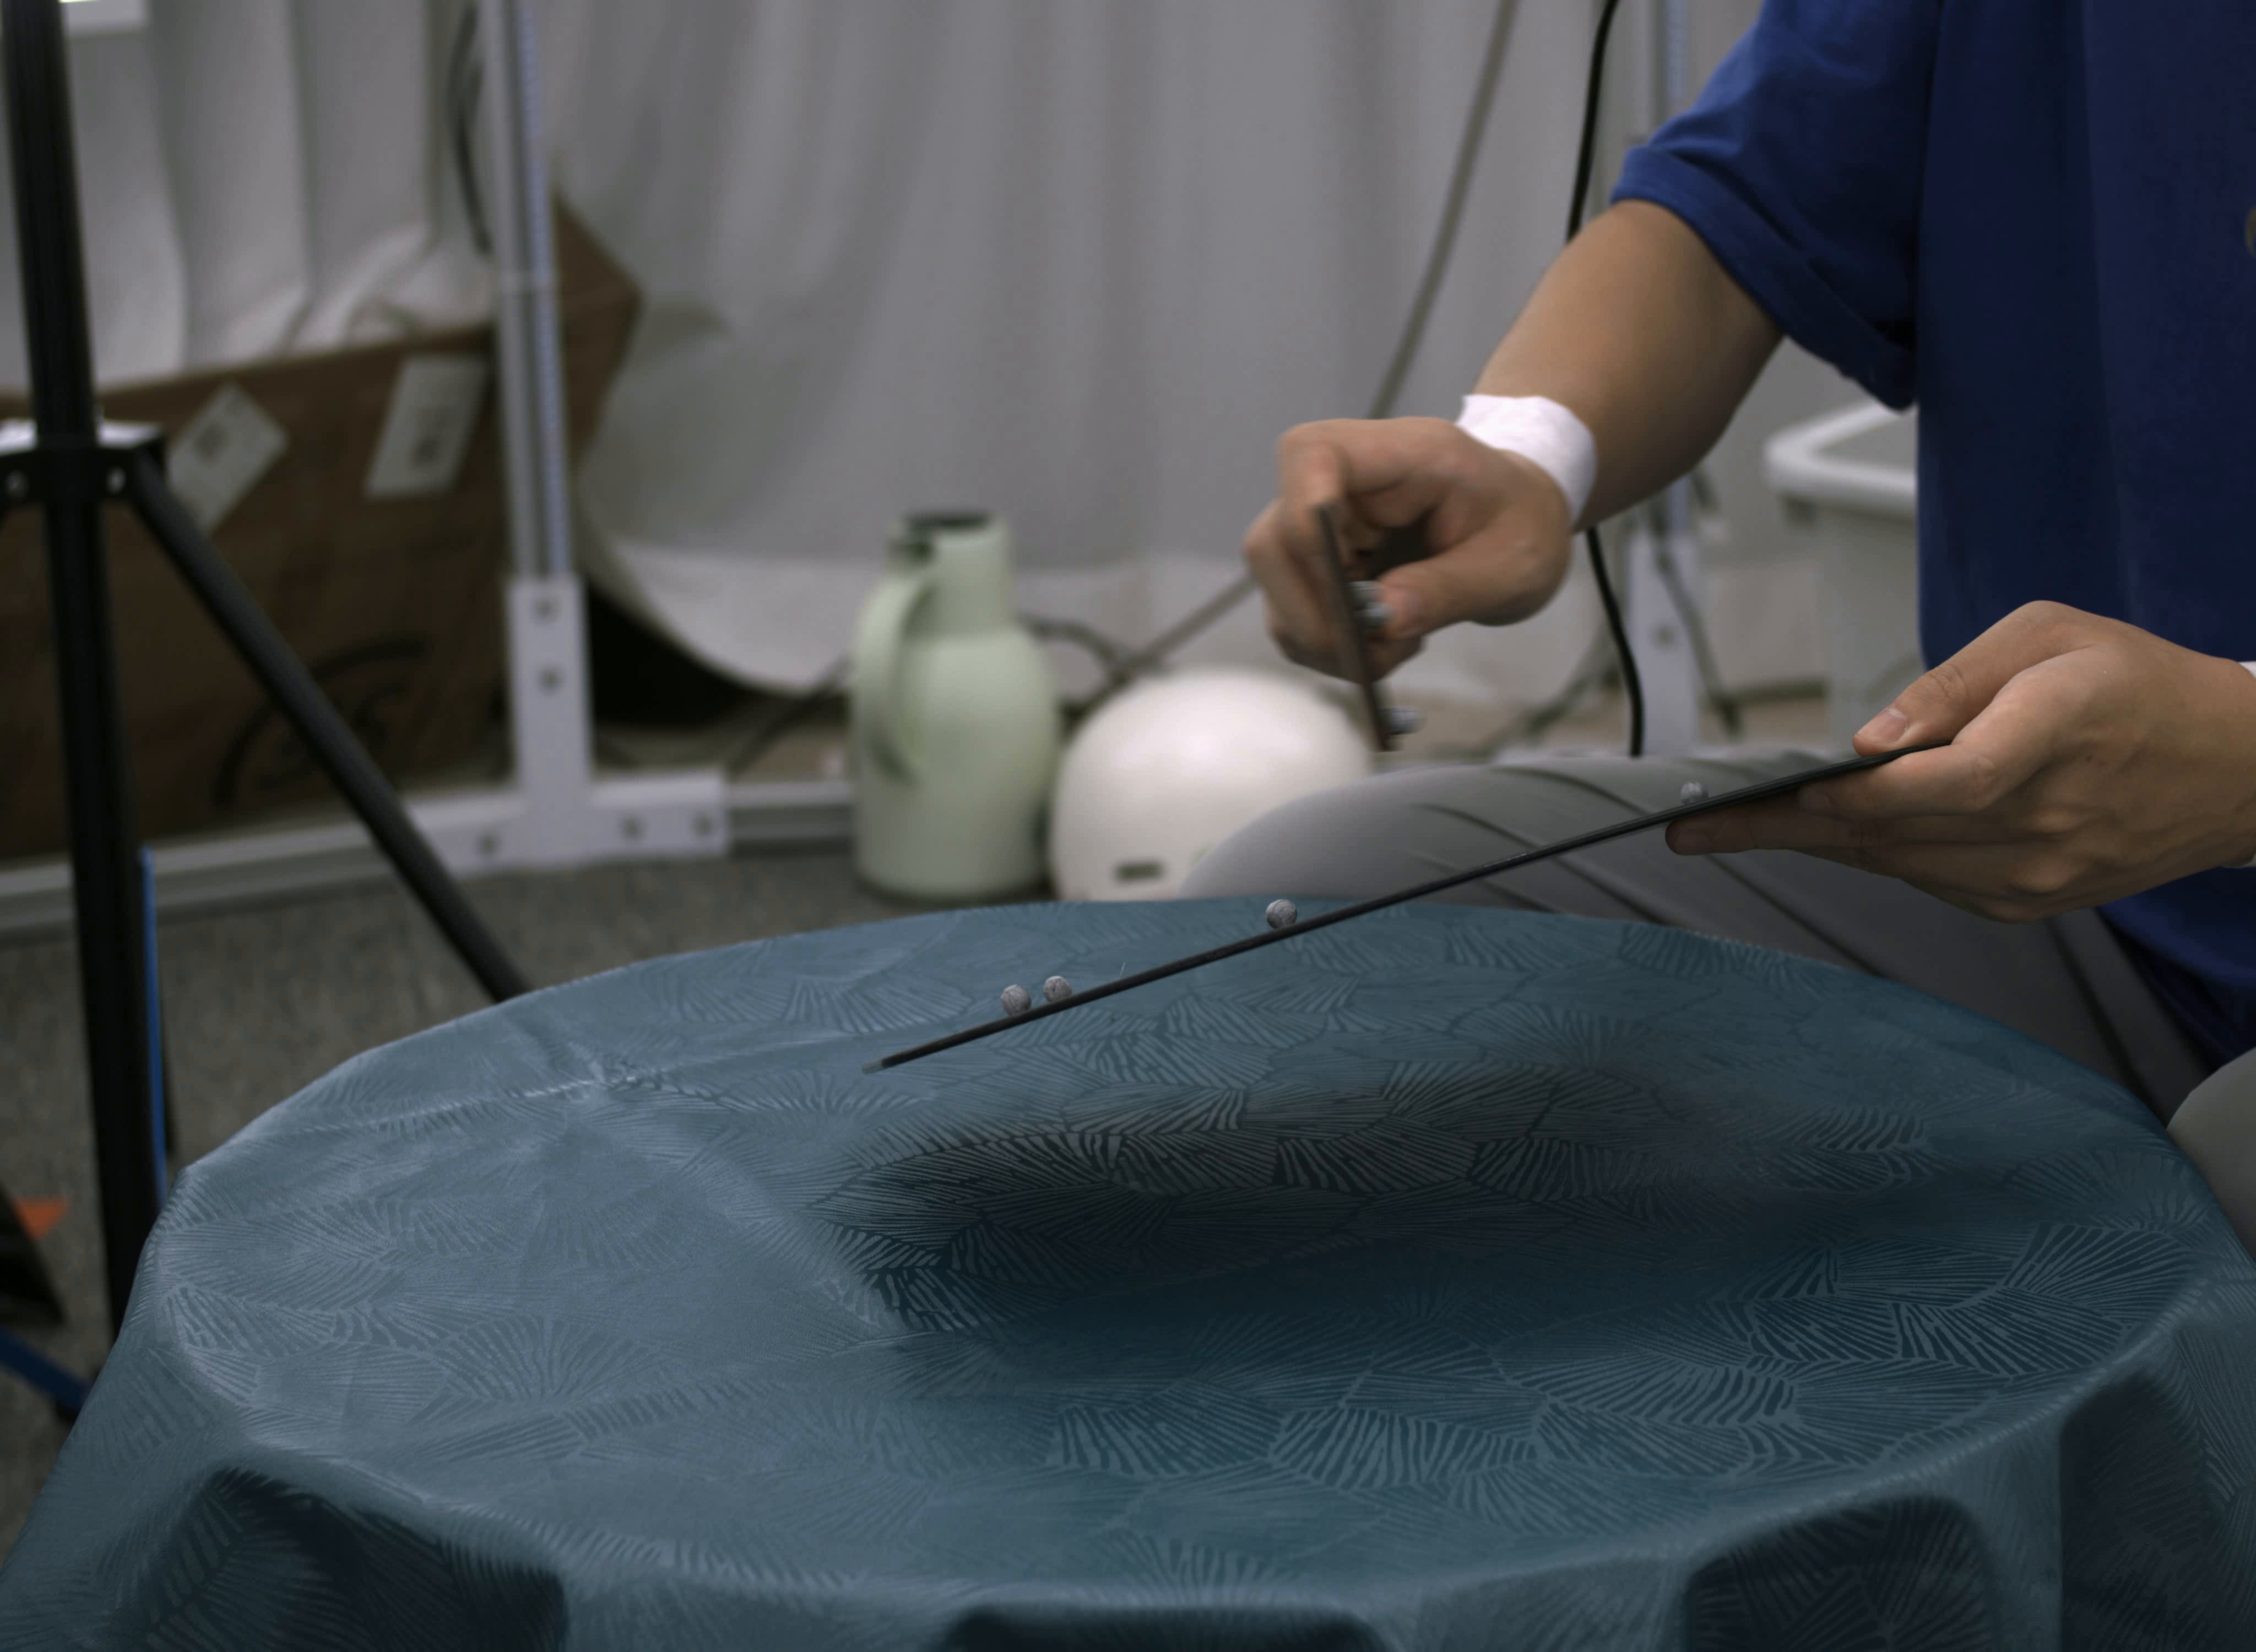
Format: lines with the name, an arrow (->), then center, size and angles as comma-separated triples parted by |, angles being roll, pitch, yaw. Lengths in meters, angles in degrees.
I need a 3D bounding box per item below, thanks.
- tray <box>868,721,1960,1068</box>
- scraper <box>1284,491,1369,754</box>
tray -> 0.082, 0.019, 1.529 | 0.323, 0.010, 0.211 | -17, -2, -4
scraper -> 0.062, -0.064, 1.583 | 0.011, 0.076, 0.210 | -15, 4, 6
